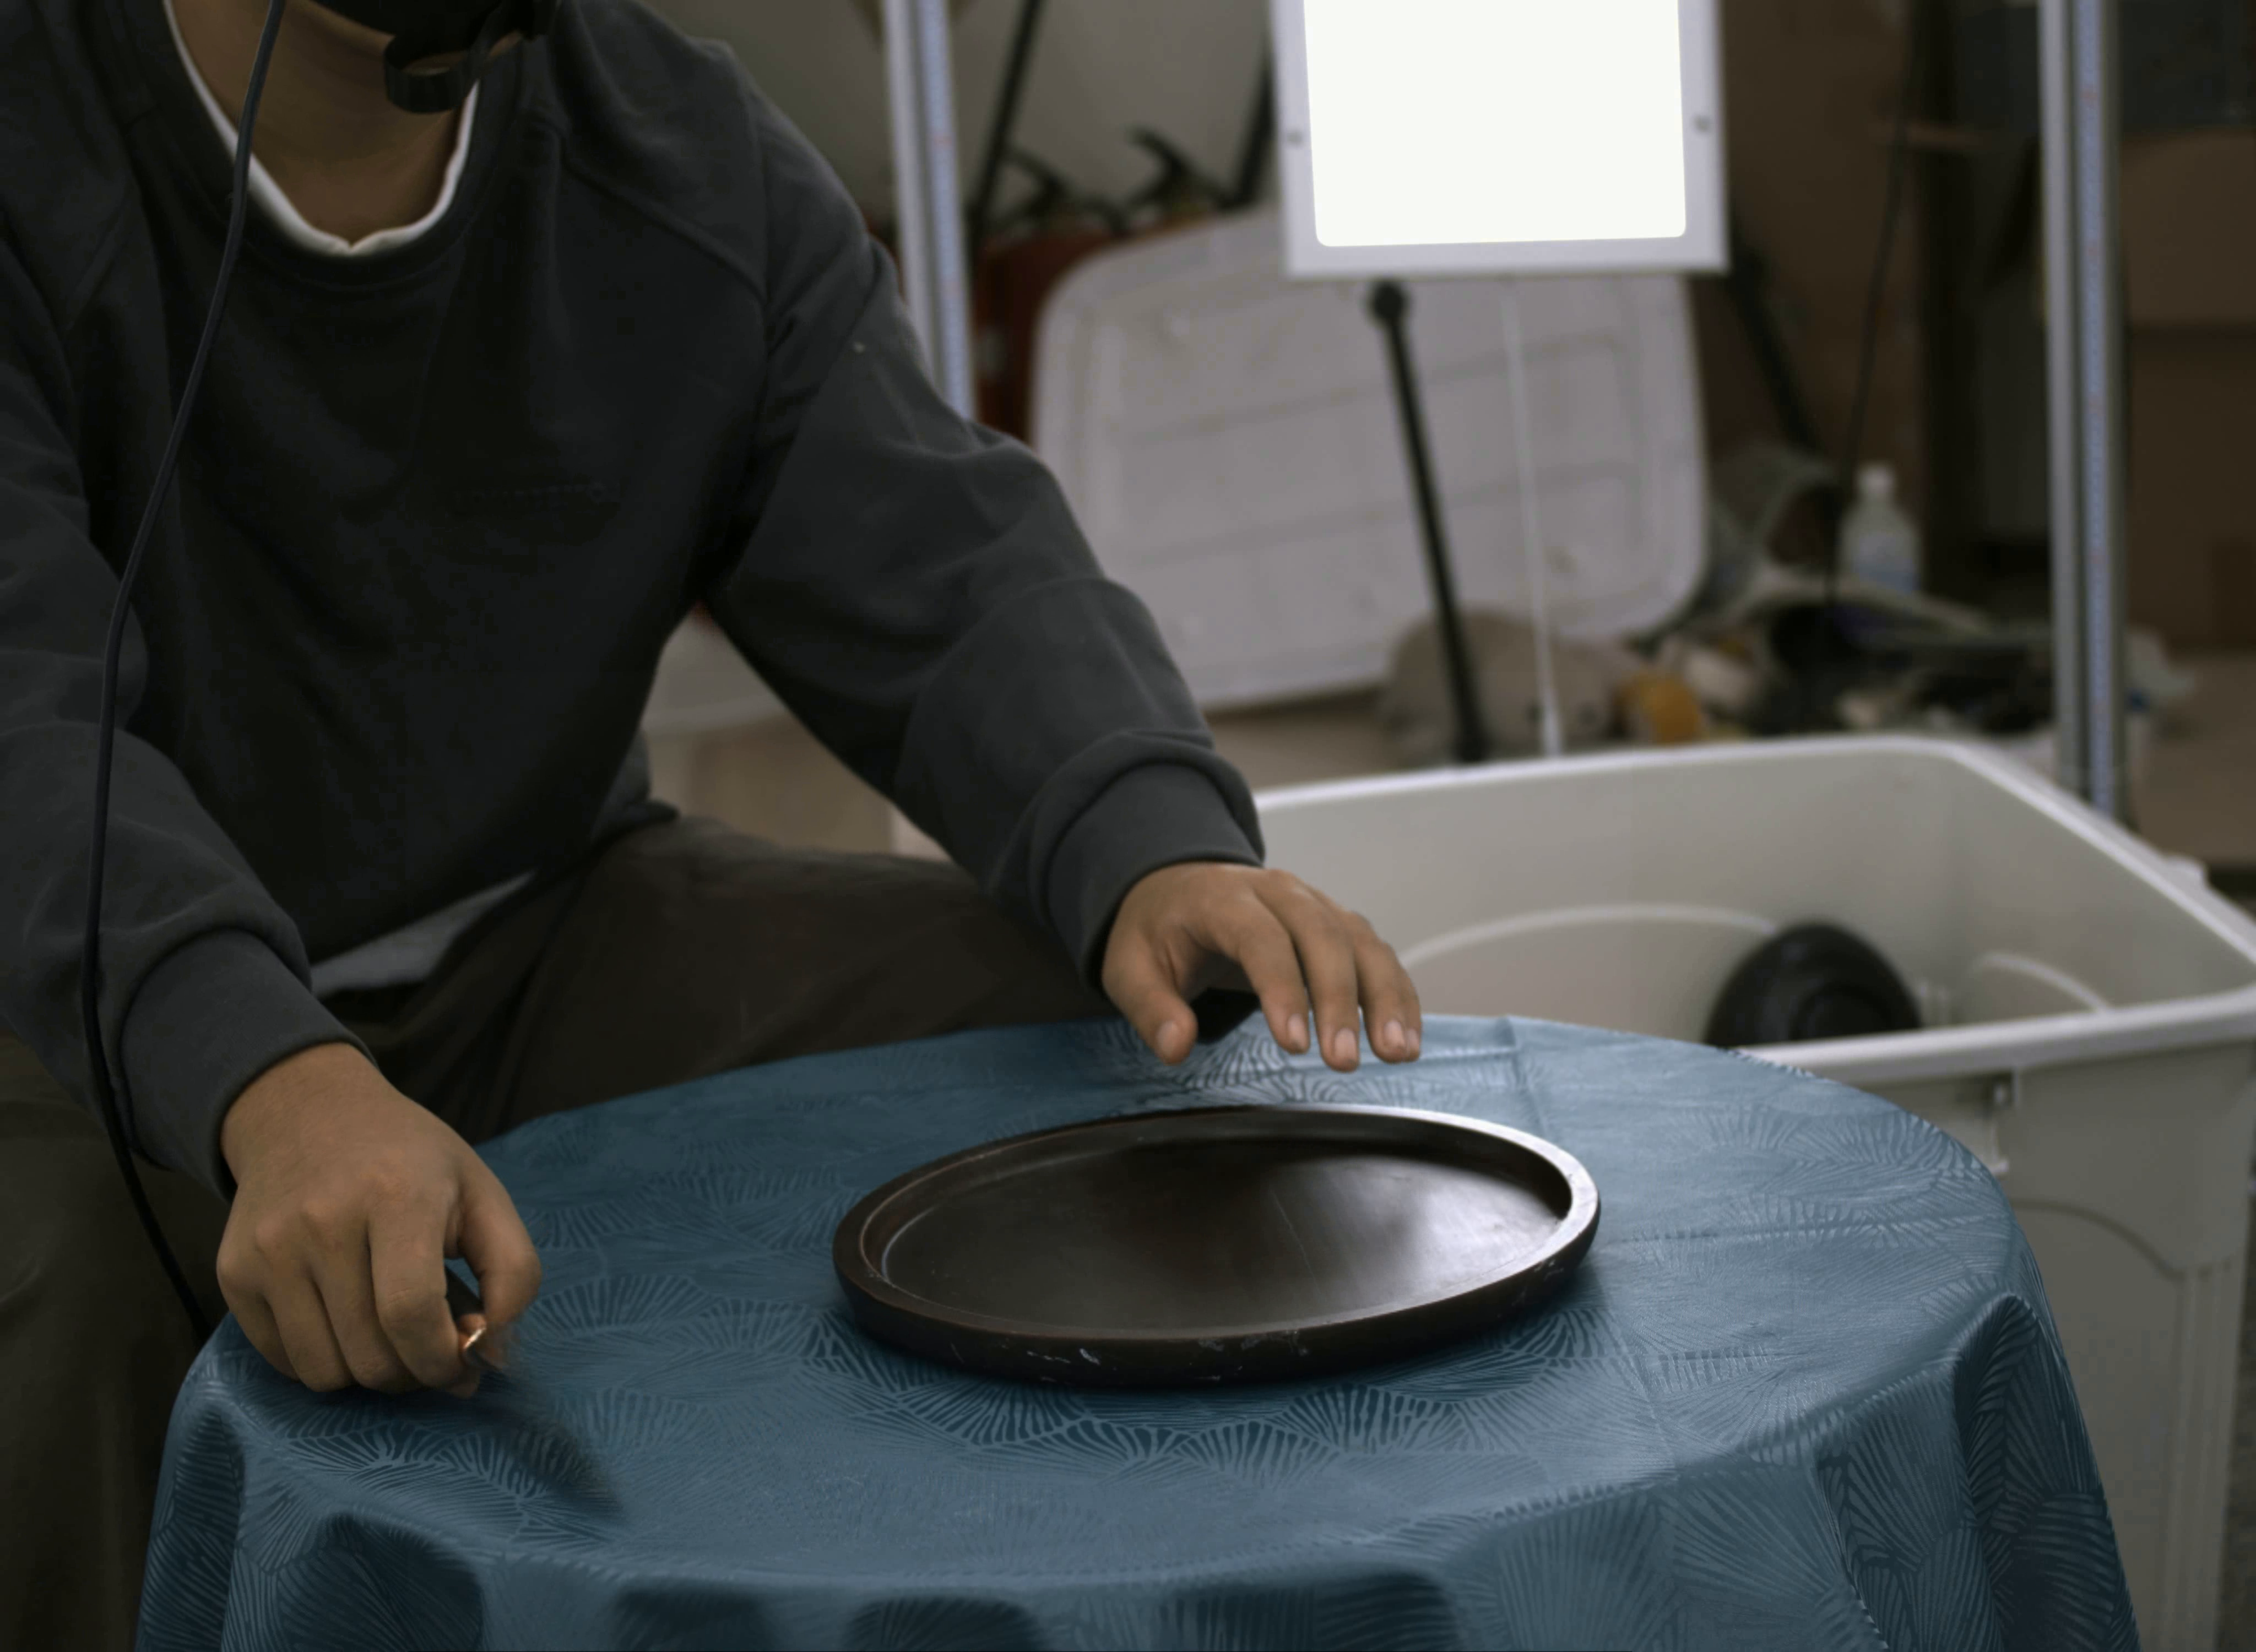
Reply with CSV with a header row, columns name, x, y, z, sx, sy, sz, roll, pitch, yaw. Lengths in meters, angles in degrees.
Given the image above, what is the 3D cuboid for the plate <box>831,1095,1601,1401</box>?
name,x,y,z,sx,sy,sz,roll,pitch,yaw
plate,0.029,0.136,1.801,0.254,0.029,0.254,-7,13,0

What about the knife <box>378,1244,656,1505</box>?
name,x,y,z,sx,sy,sz,roll,pitch,yaw
knife,-0.193,0.170,1.720,0.026,0.017,0.229,26,2,-28
